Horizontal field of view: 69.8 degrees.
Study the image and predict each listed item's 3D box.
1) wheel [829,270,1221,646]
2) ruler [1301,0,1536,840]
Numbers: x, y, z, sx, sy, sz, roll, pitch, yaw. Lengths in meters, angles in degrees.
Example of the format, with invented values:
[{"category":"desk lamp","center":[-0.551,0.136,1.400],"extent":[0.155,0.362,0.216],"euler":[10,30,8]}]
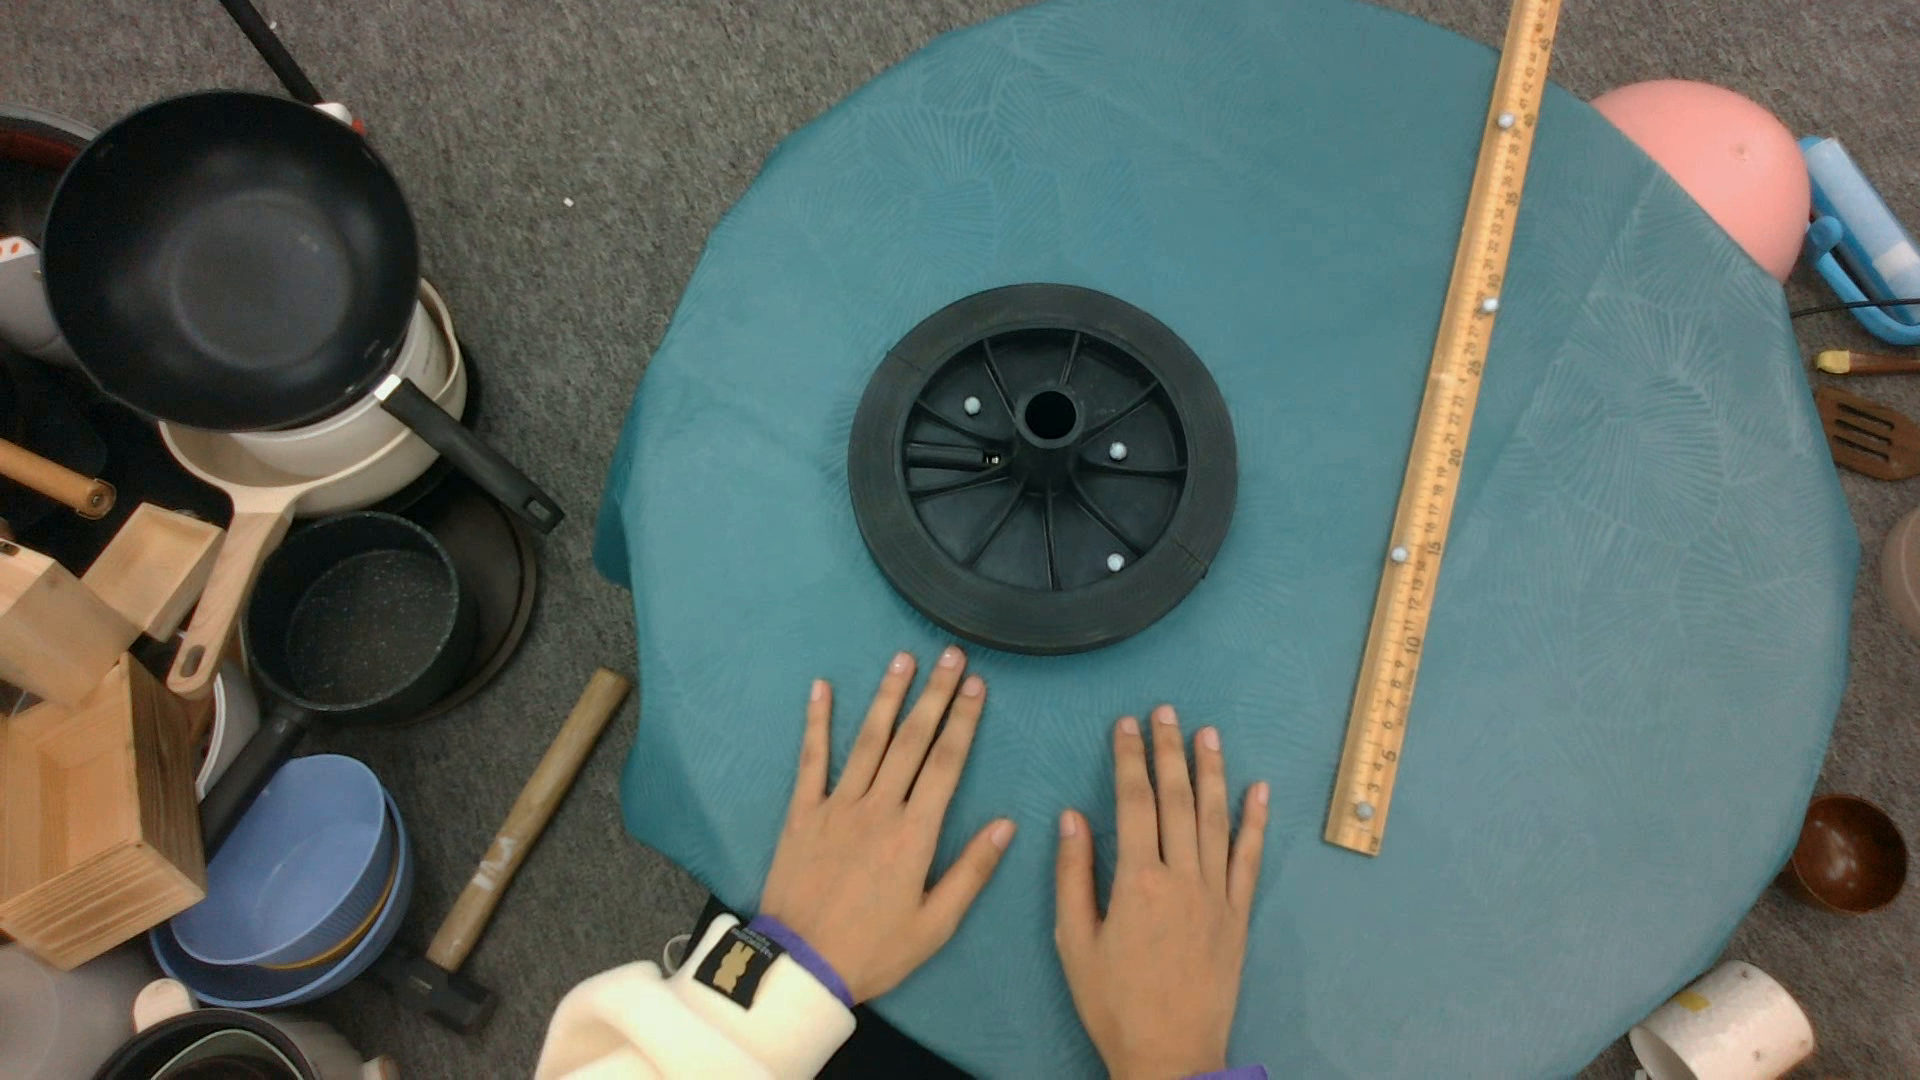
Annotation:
[{"category":"wheel","center":[0.031,-0.048,0.645],"extent":[0.190,0.079,0.188],"euler":[-17,74,-5]},{"category":"ruler","center":[0.241,-0.094,0.700],"extent":[0.027,0.006,0.502],"euler":[17,73,3]}]
